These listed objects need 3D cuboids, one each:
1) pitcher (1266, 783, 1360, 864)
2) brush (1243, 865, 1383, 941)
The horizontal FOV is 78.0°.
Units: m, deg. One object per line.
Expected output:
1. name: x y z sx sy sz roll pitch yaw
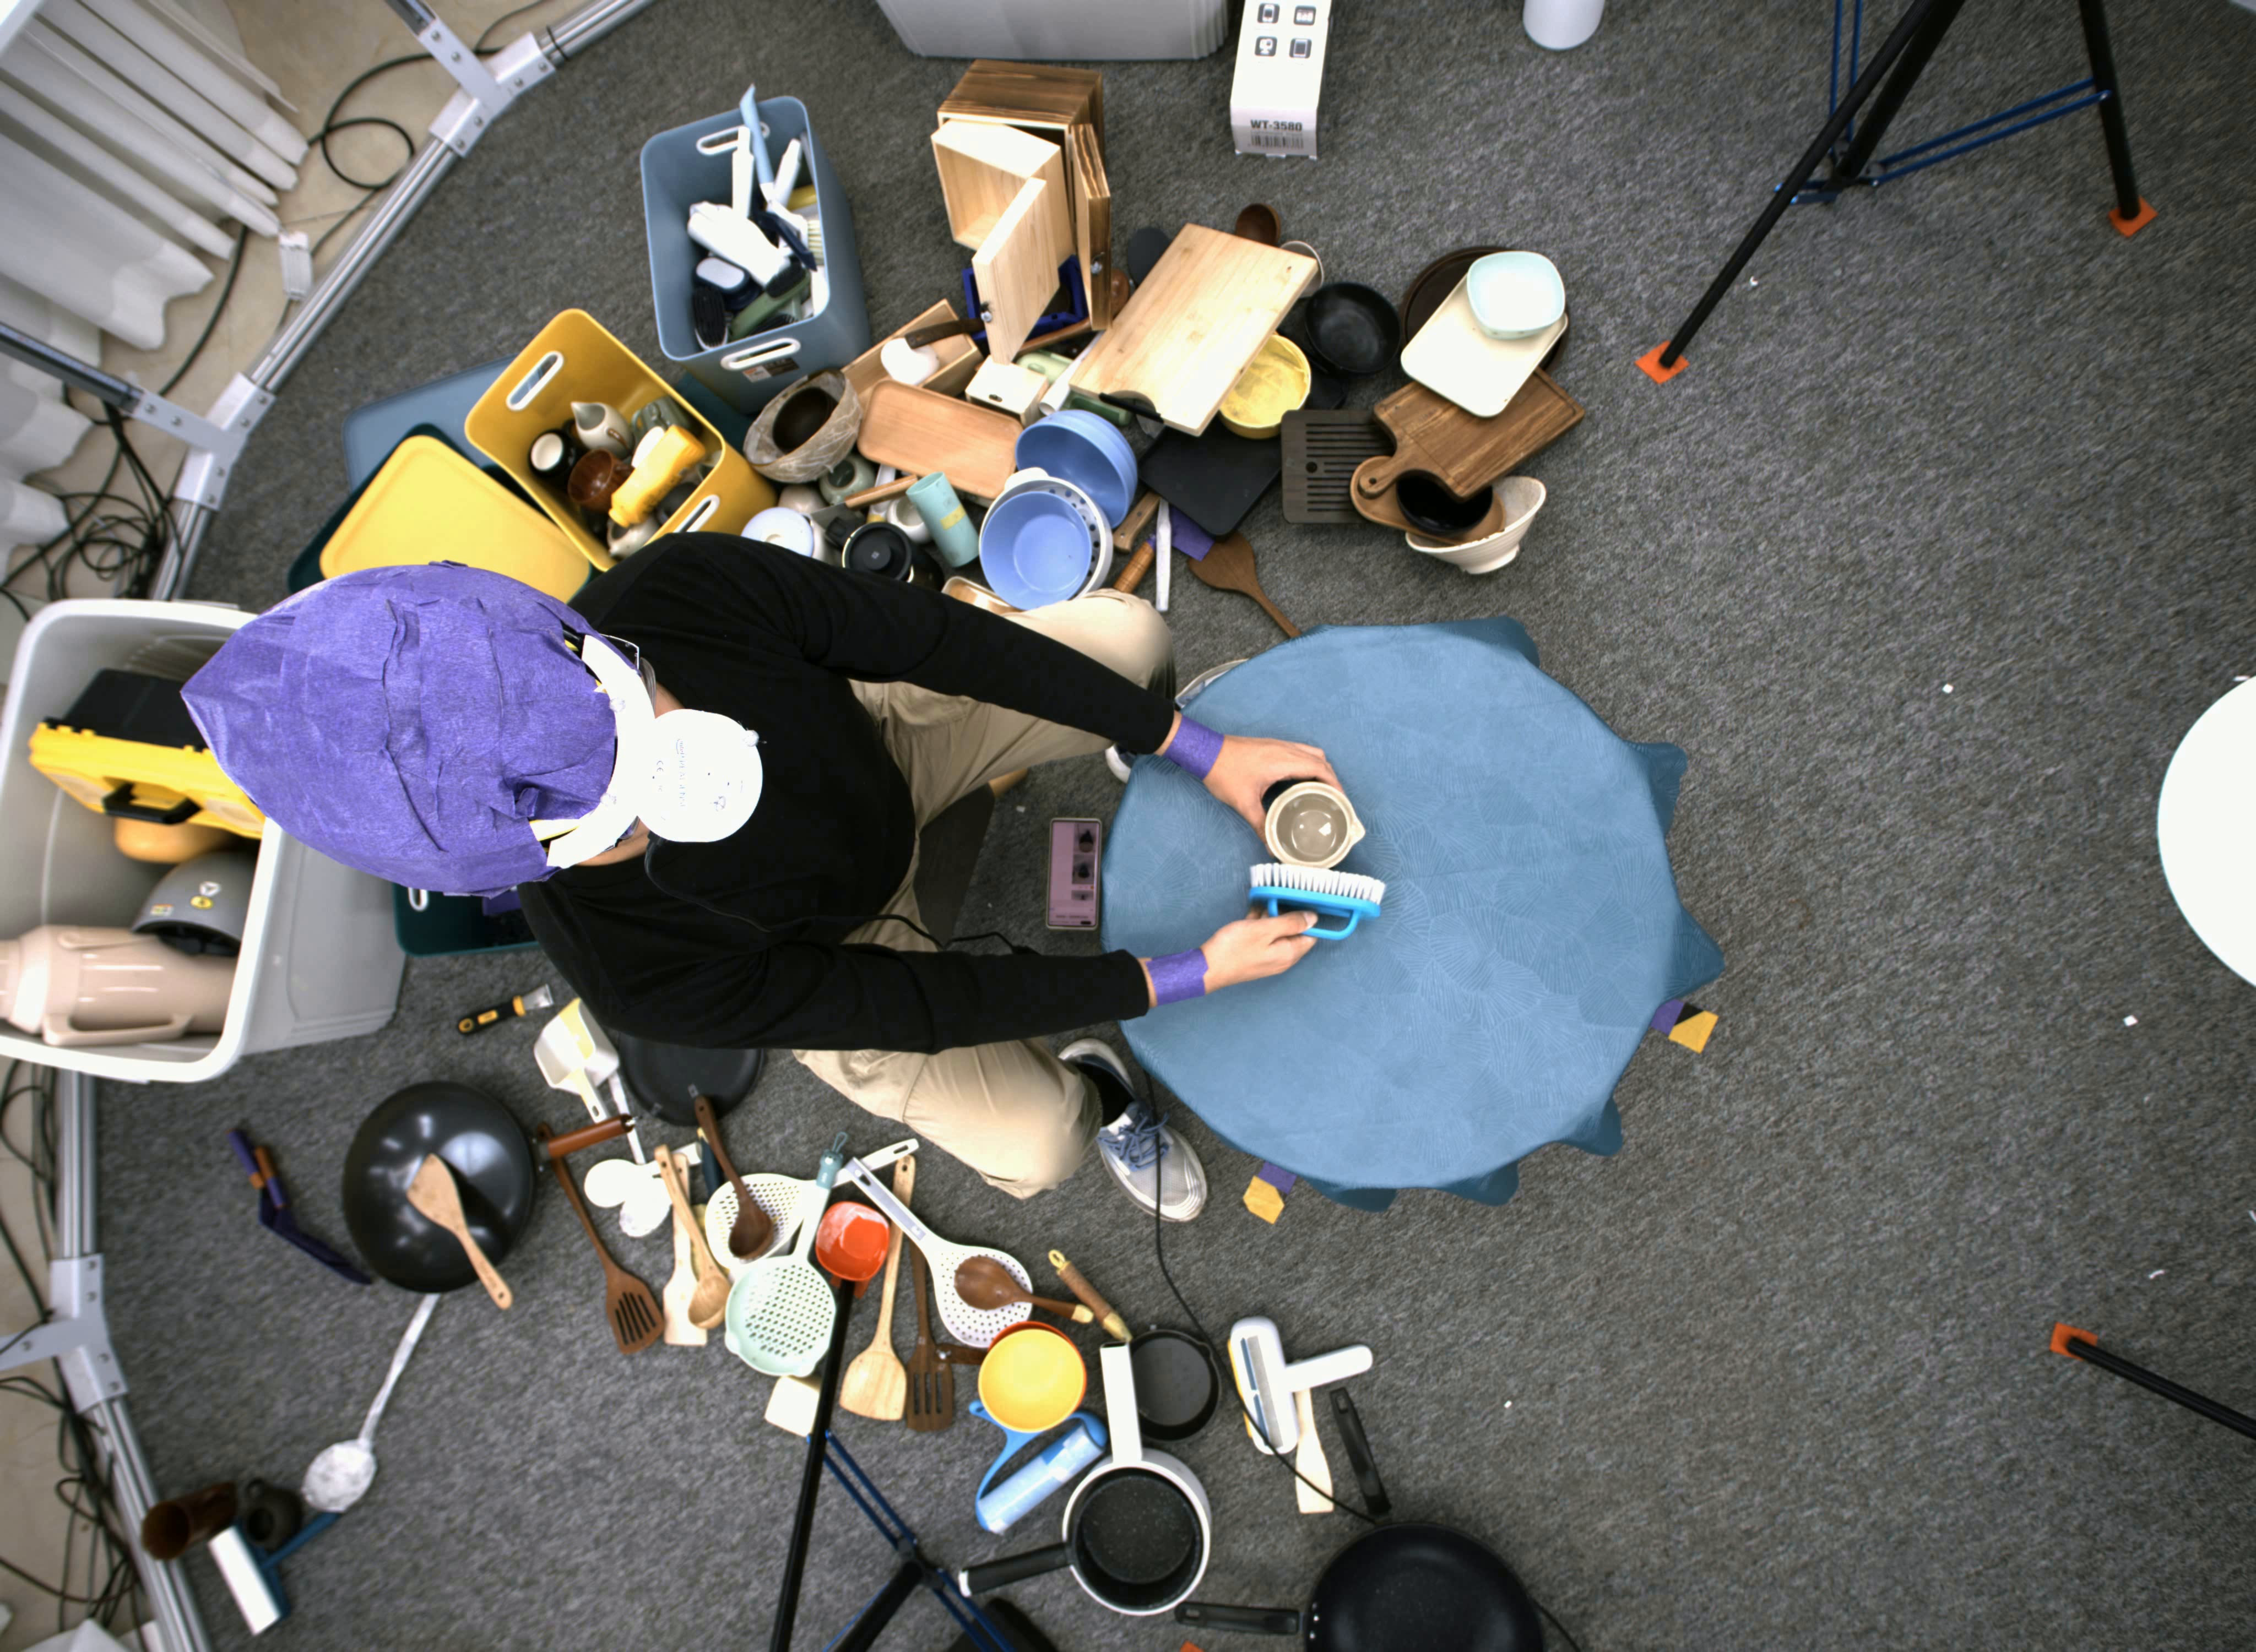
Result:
1. pitcher: 0.193 0.000 1.439 0.096 0.071 0.083 12 87 9
2. brush: 0.187 0.082 1.421 0.142 0.085 0.063 9 81 -1
